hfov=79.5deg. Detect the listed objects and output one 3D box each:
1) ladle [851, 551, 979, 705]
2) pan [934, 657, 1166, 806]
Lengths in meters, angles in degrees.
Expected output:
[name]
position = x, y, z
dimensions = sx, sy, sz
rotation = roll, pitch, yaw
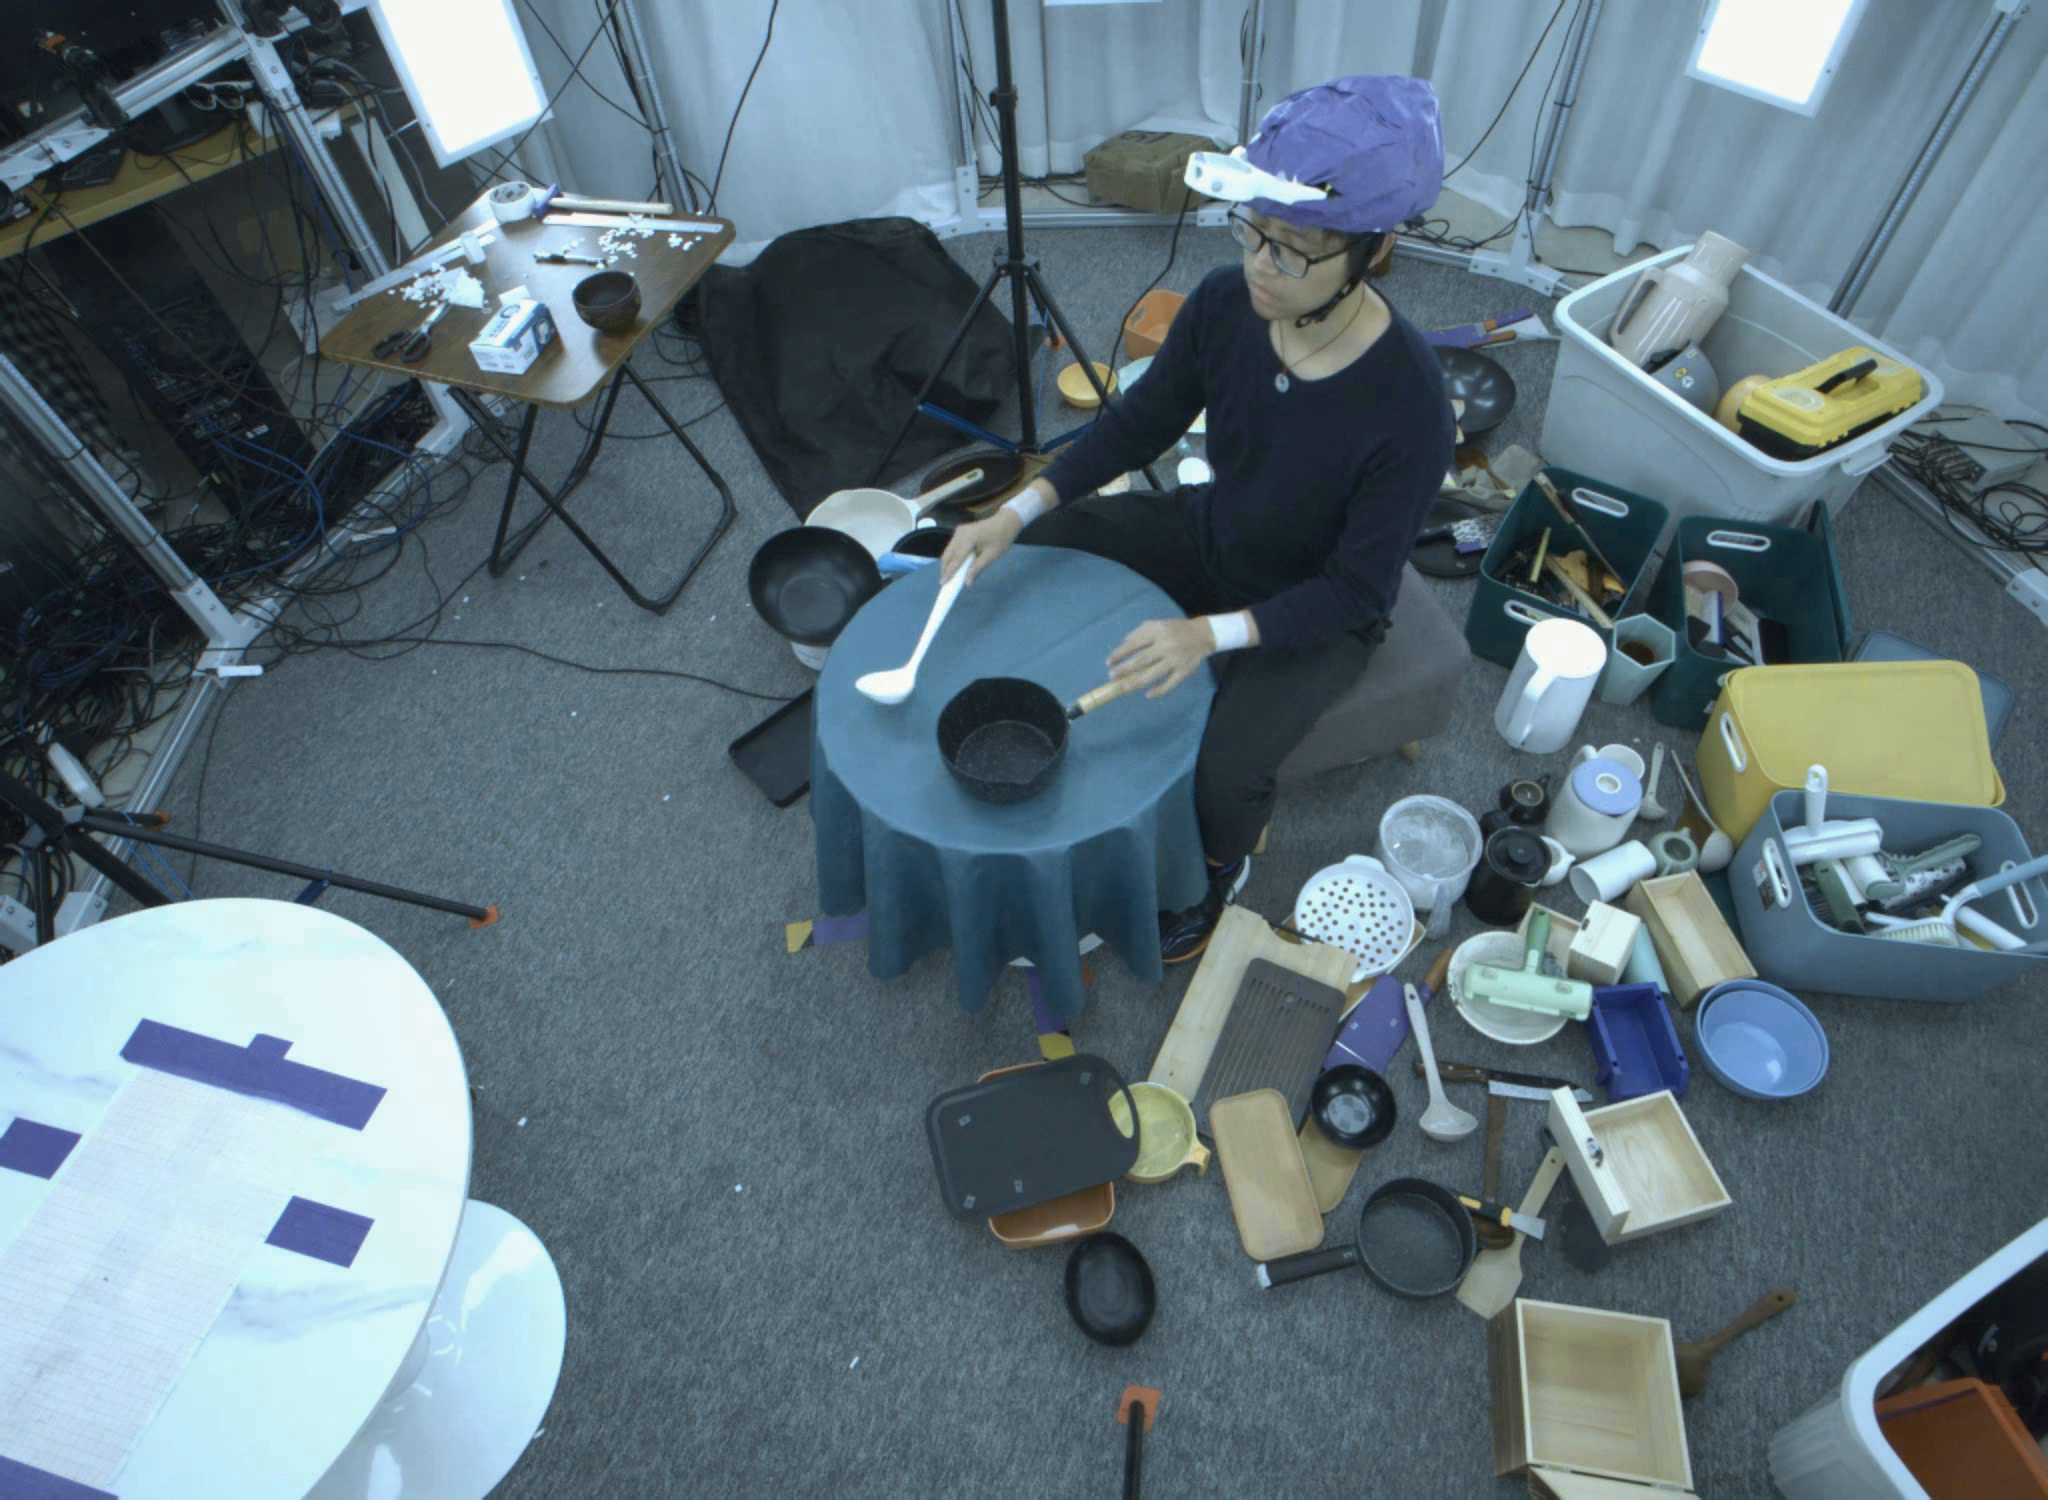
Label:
[ladle]
position = -0.158, -0.188, 1.837
dimensions = 0.088, 0.071, 0.293
rotation = 13, 67, 38
[pan]
position = 0.043, -0.041, 1.748
dimensions = 0.345, 0.109, 0.203
rotation = -21, 56, -11
